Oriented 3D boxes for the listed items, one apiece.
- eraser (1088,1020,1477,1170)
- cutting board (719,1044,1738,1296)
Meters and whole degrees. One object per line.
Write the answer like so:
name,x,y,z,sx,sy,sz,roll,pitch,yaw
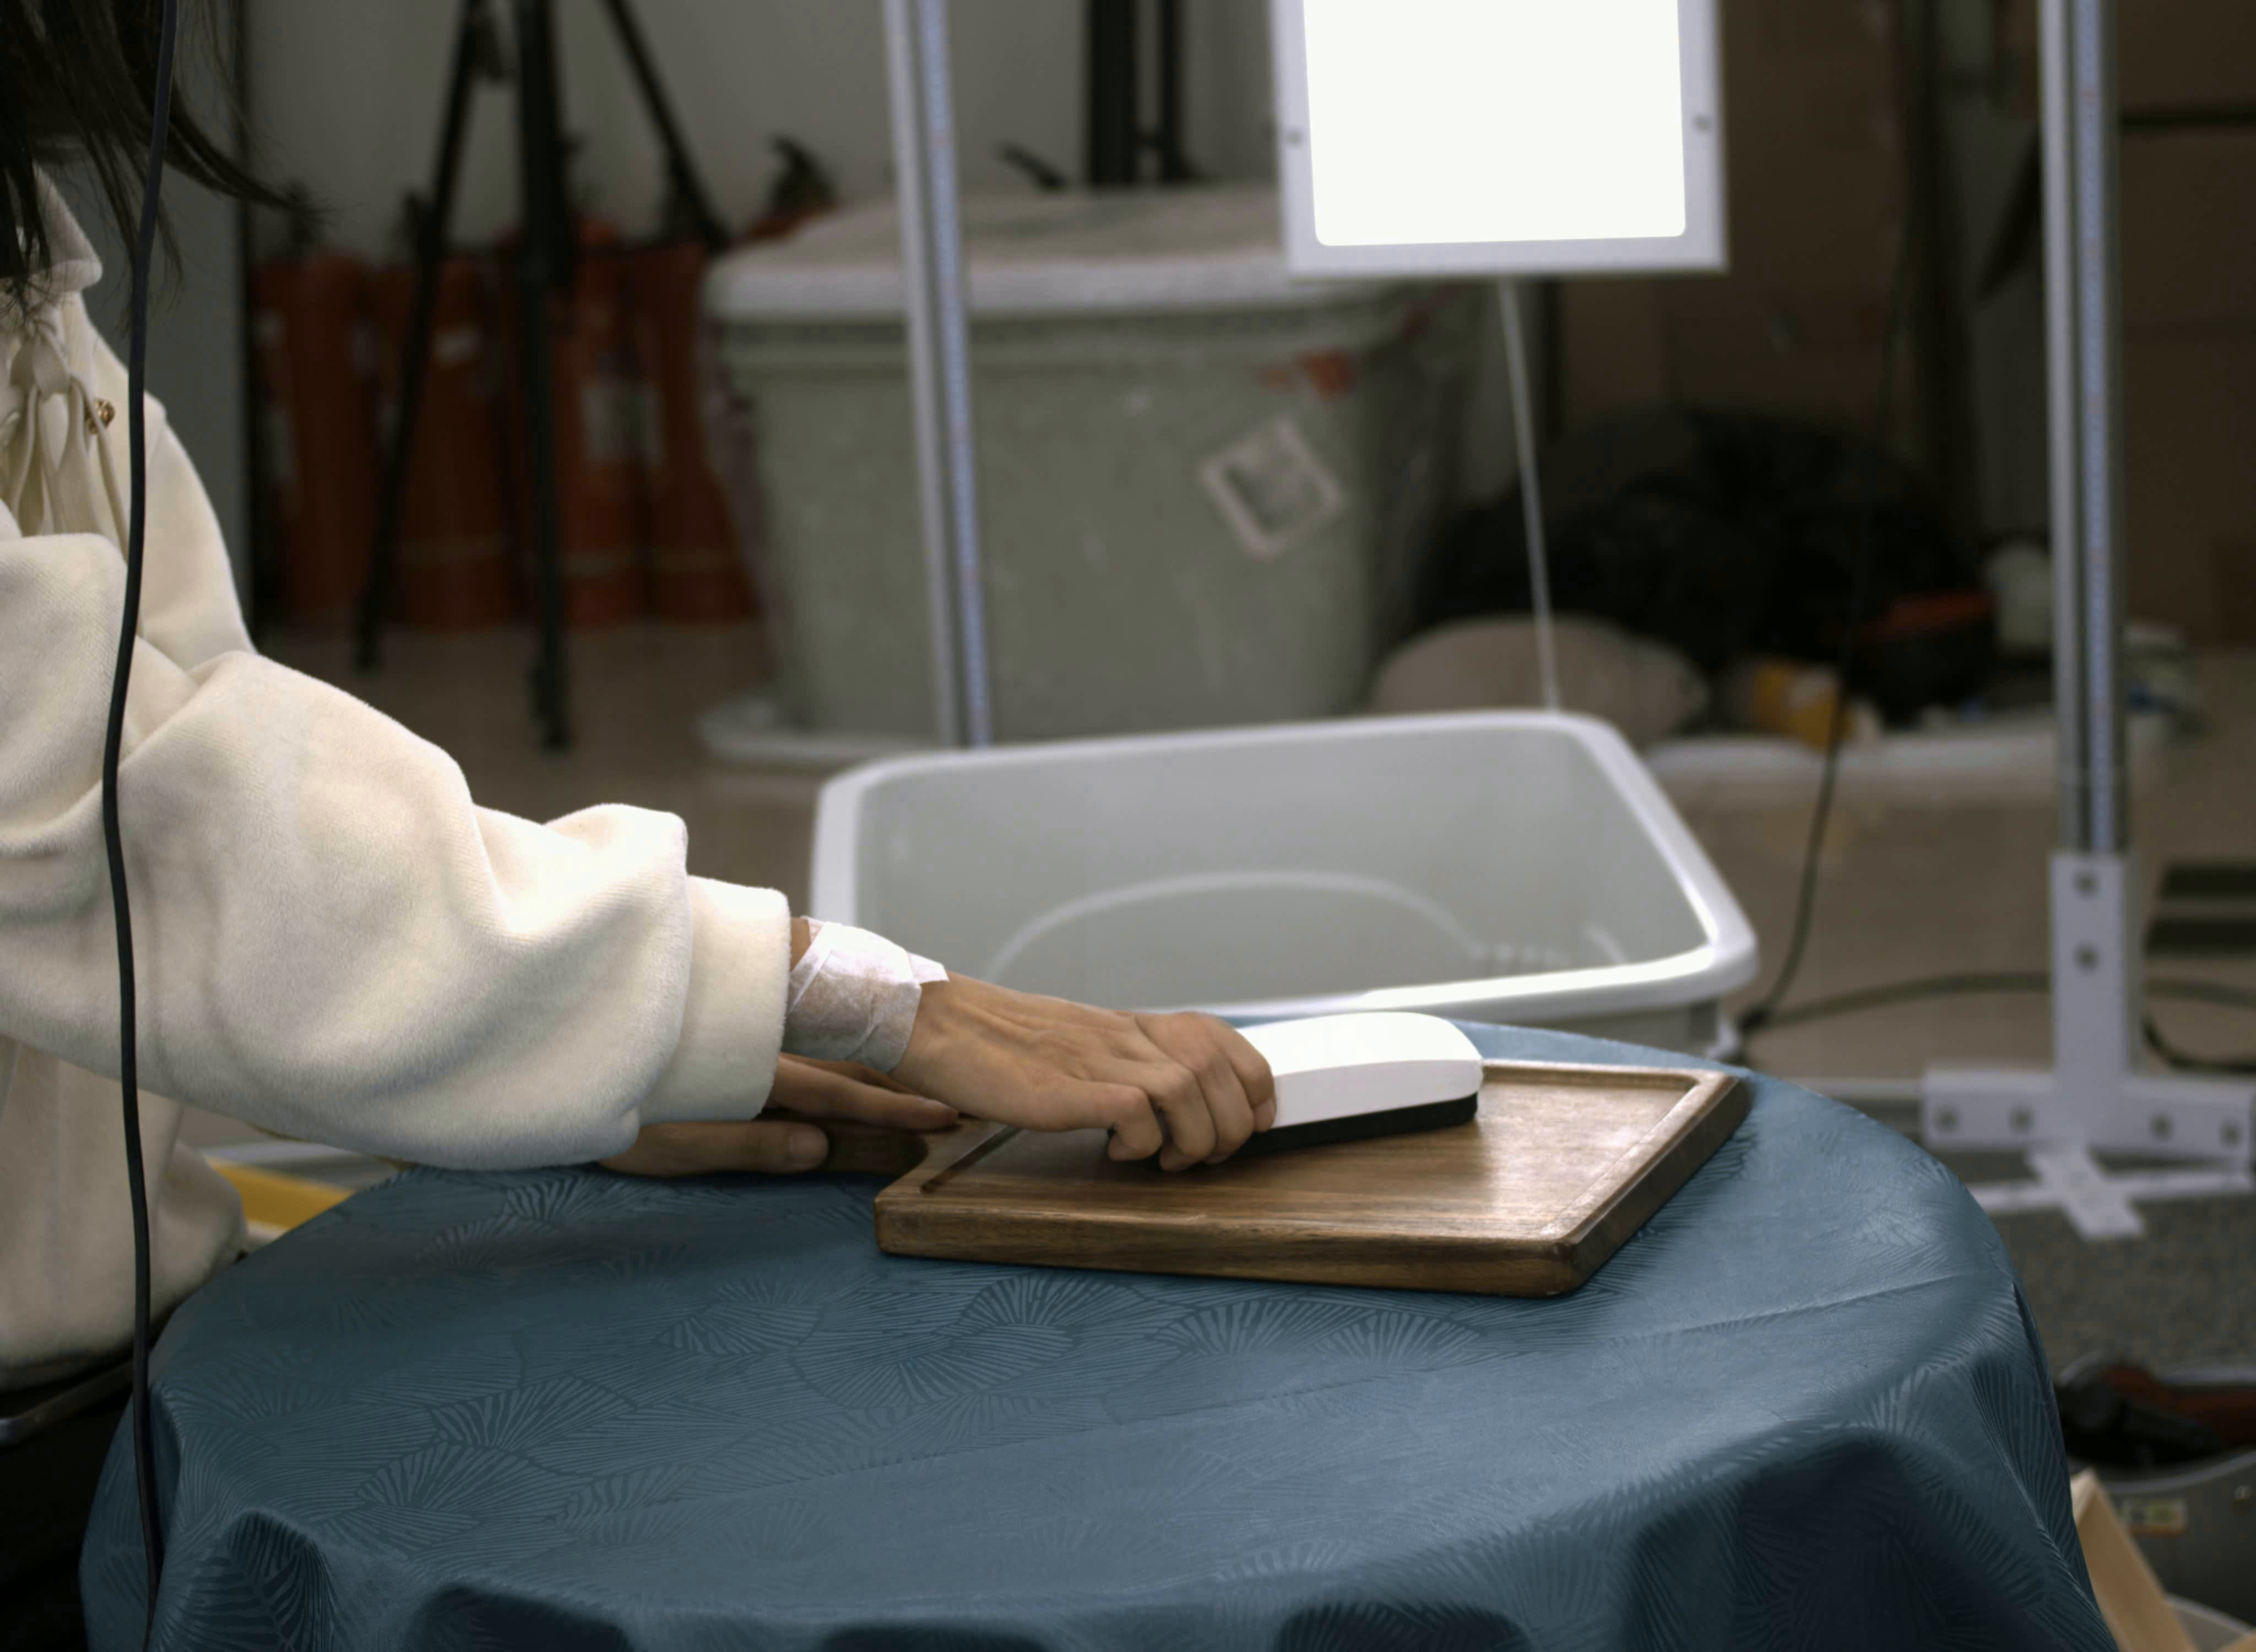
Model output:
eraser,0.054,0.090,1.901,0.130,0.034,0.064,-7,14,-10
cutting board,0.019,0.113,1.902,0.358,0.023,0.197,2,15,25
